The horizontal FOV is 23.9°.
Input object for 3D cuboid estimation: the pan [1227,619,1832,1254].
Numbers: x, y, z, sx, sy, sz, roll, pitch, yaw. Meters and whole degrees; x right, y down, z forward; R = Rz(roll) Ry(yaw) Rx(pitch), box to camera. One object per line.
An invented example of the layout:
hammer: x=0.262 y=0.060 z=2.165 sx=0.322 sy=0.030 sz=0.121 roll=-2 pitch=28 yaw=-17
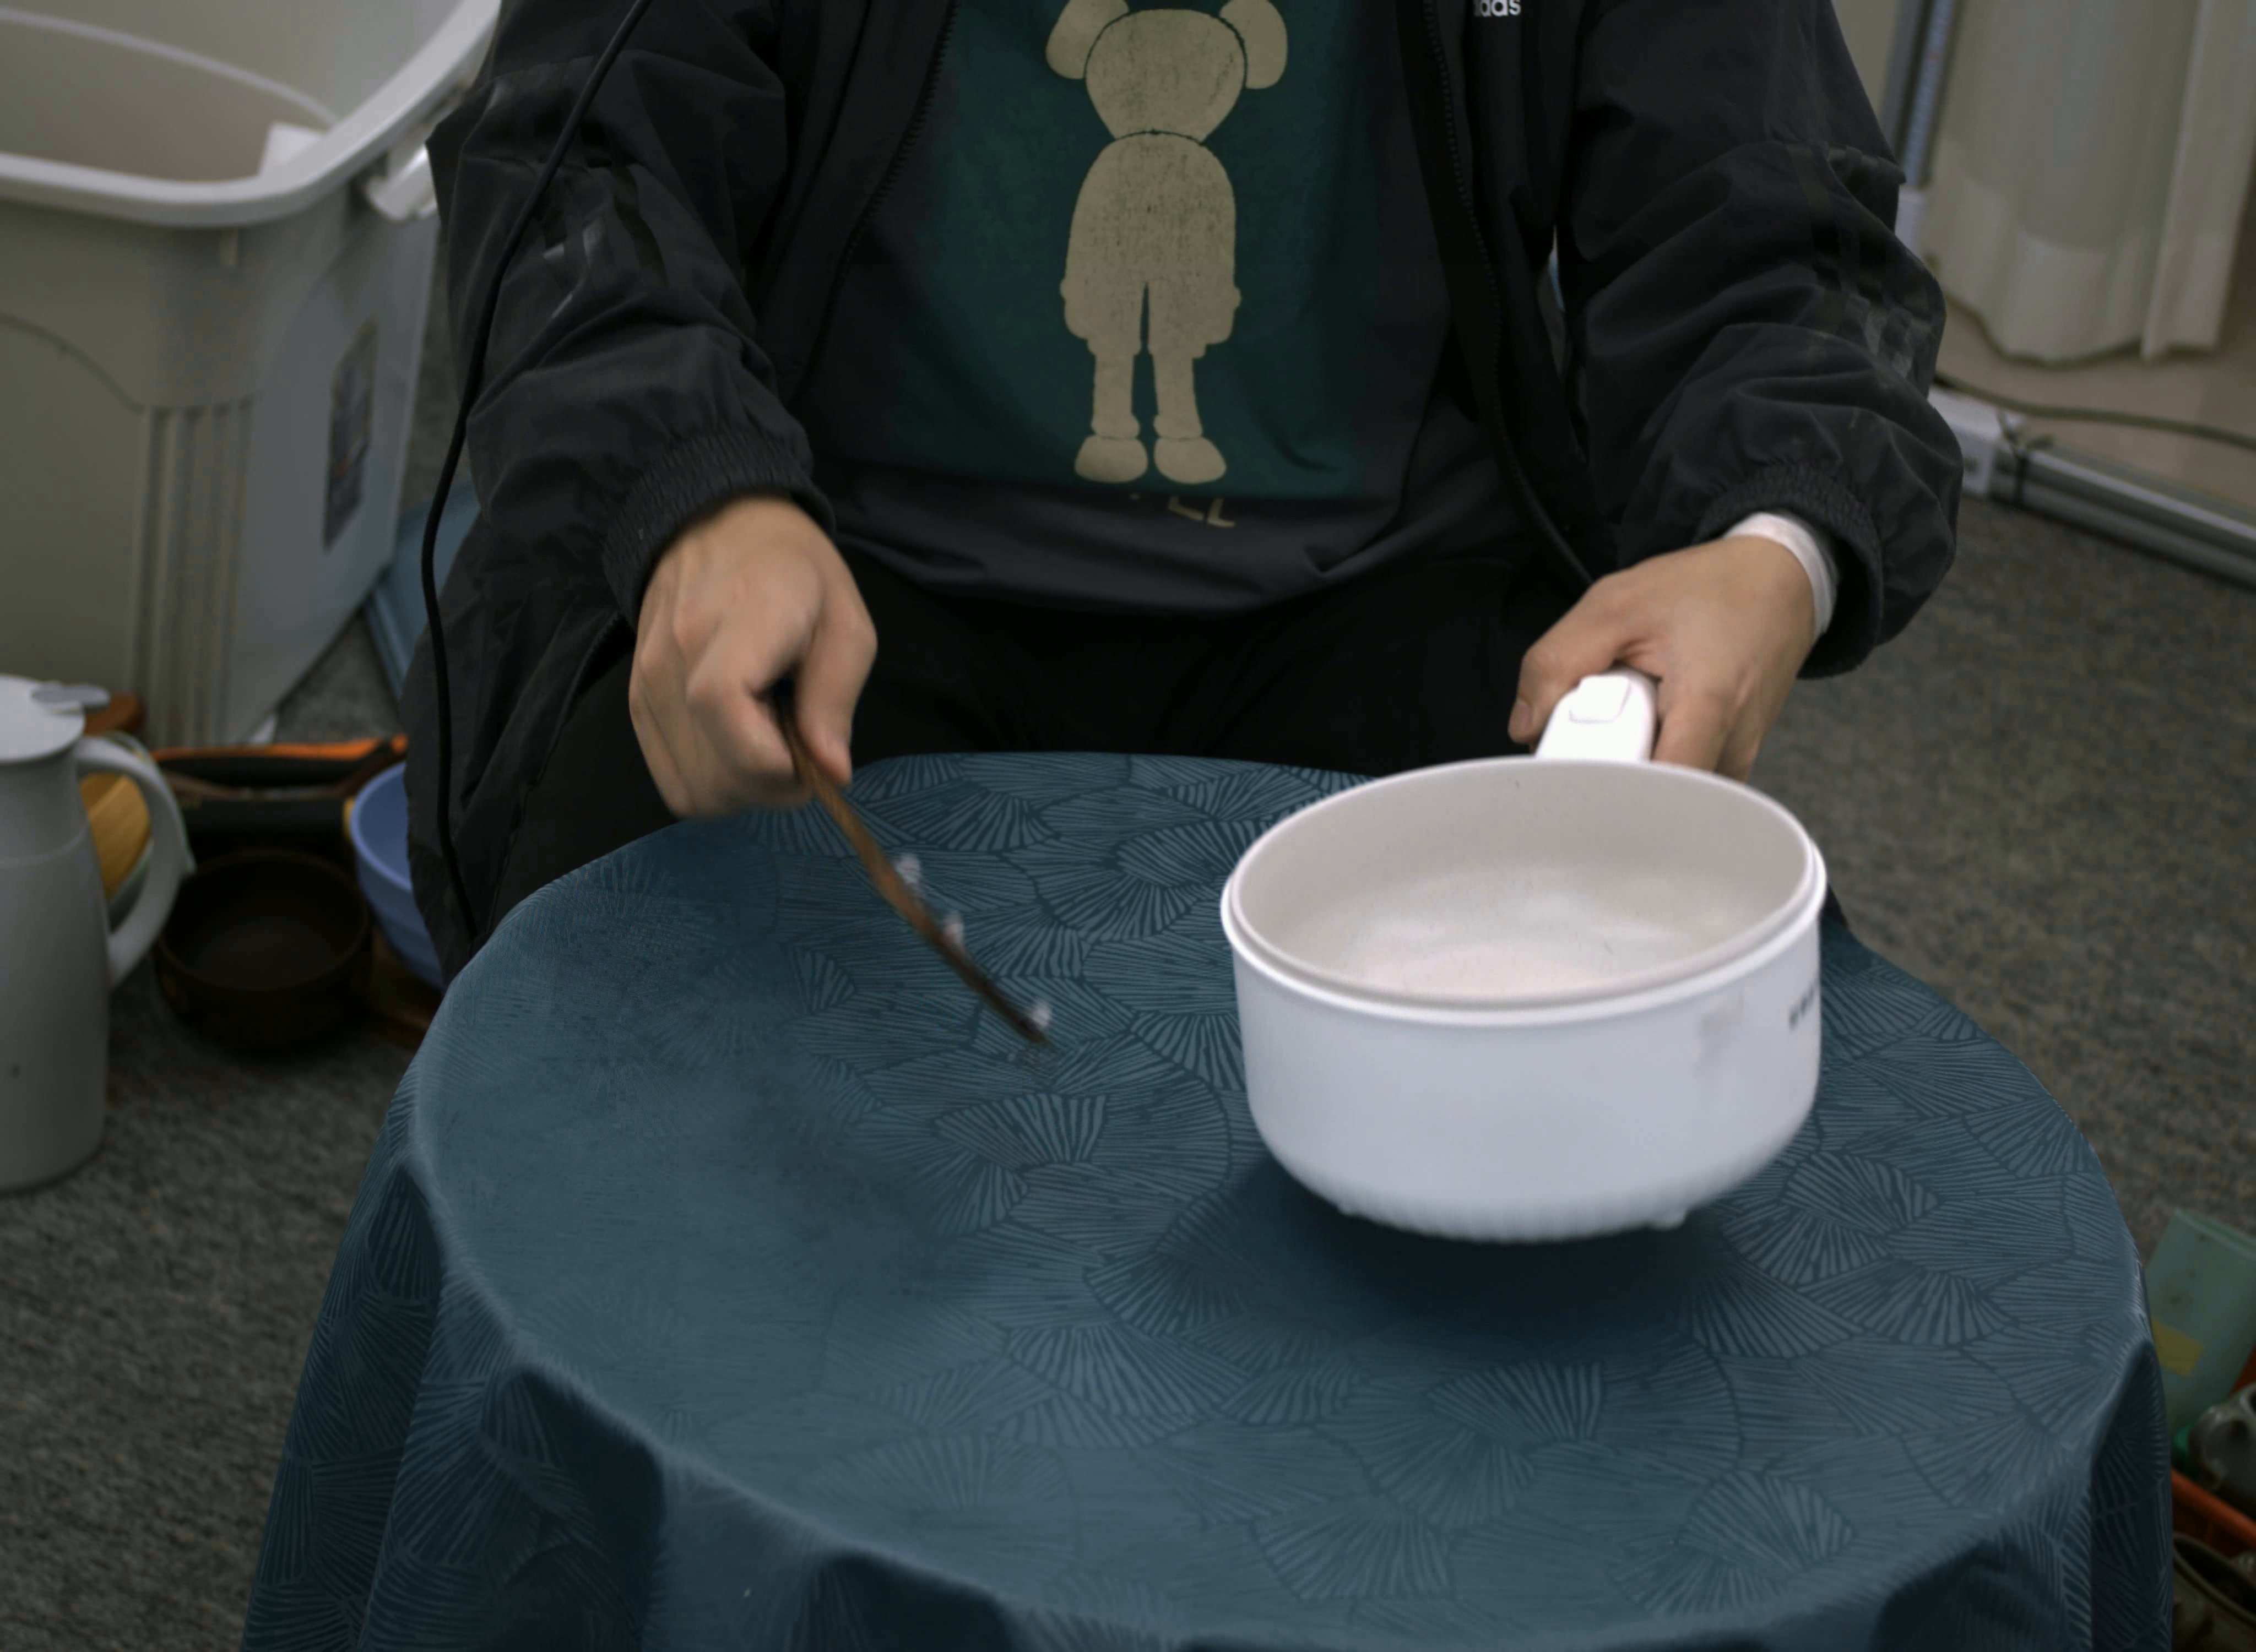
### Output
pan: x=0.155 y=0.035 z=1.851 sx=0.201 sy=0.102 sz=0.355 roll=1 pitch=23 yaw=15

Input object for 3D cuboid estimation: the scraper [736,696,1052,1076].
scraper: x=-0.088 y=0.015 z=1.820 sx=0.011 sy=0.075 sz=0.213 roll=-41 pitch=42 yaw=1
